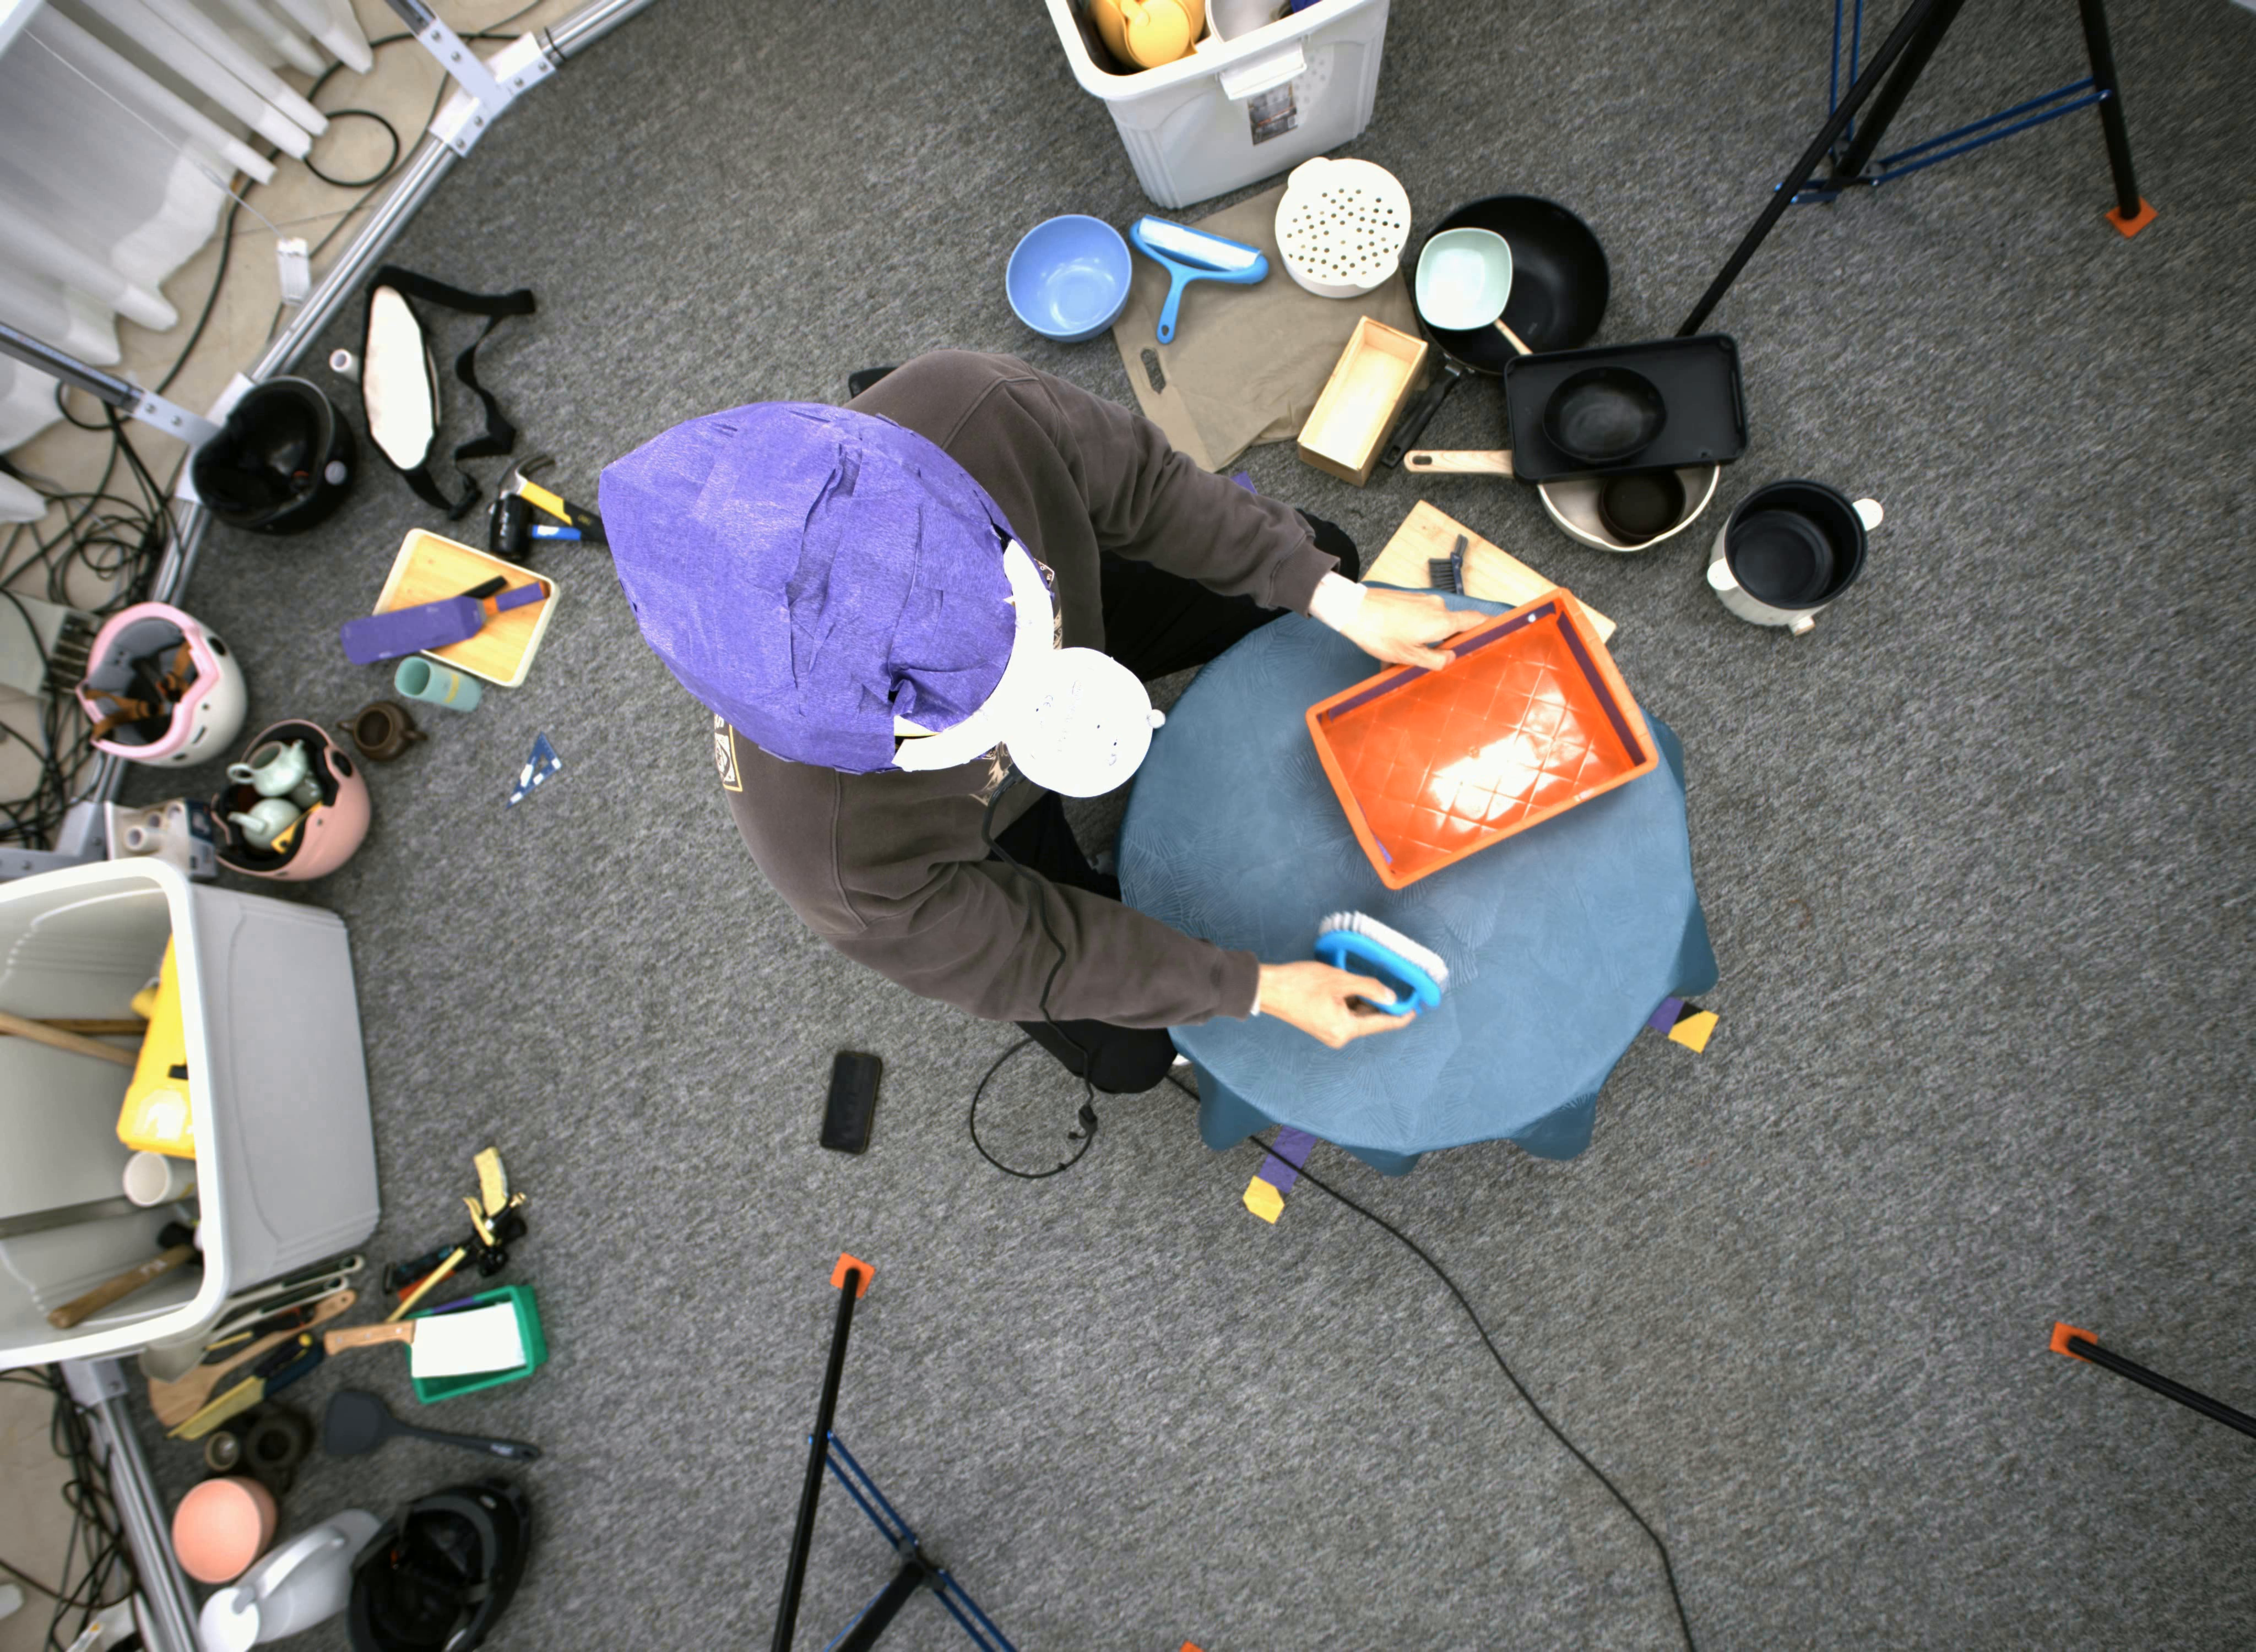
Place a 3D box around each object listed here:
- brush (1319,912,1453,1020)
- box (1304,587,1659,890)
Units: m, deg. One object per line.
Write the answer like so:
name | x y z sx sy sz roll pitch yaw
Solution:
brush | 0.250 0.150 1.375 0.142 0.086 0.062 33 55 -4
box | 0.355 -0.085 1.404 0.305 0.096 0.205 -25 81 8
